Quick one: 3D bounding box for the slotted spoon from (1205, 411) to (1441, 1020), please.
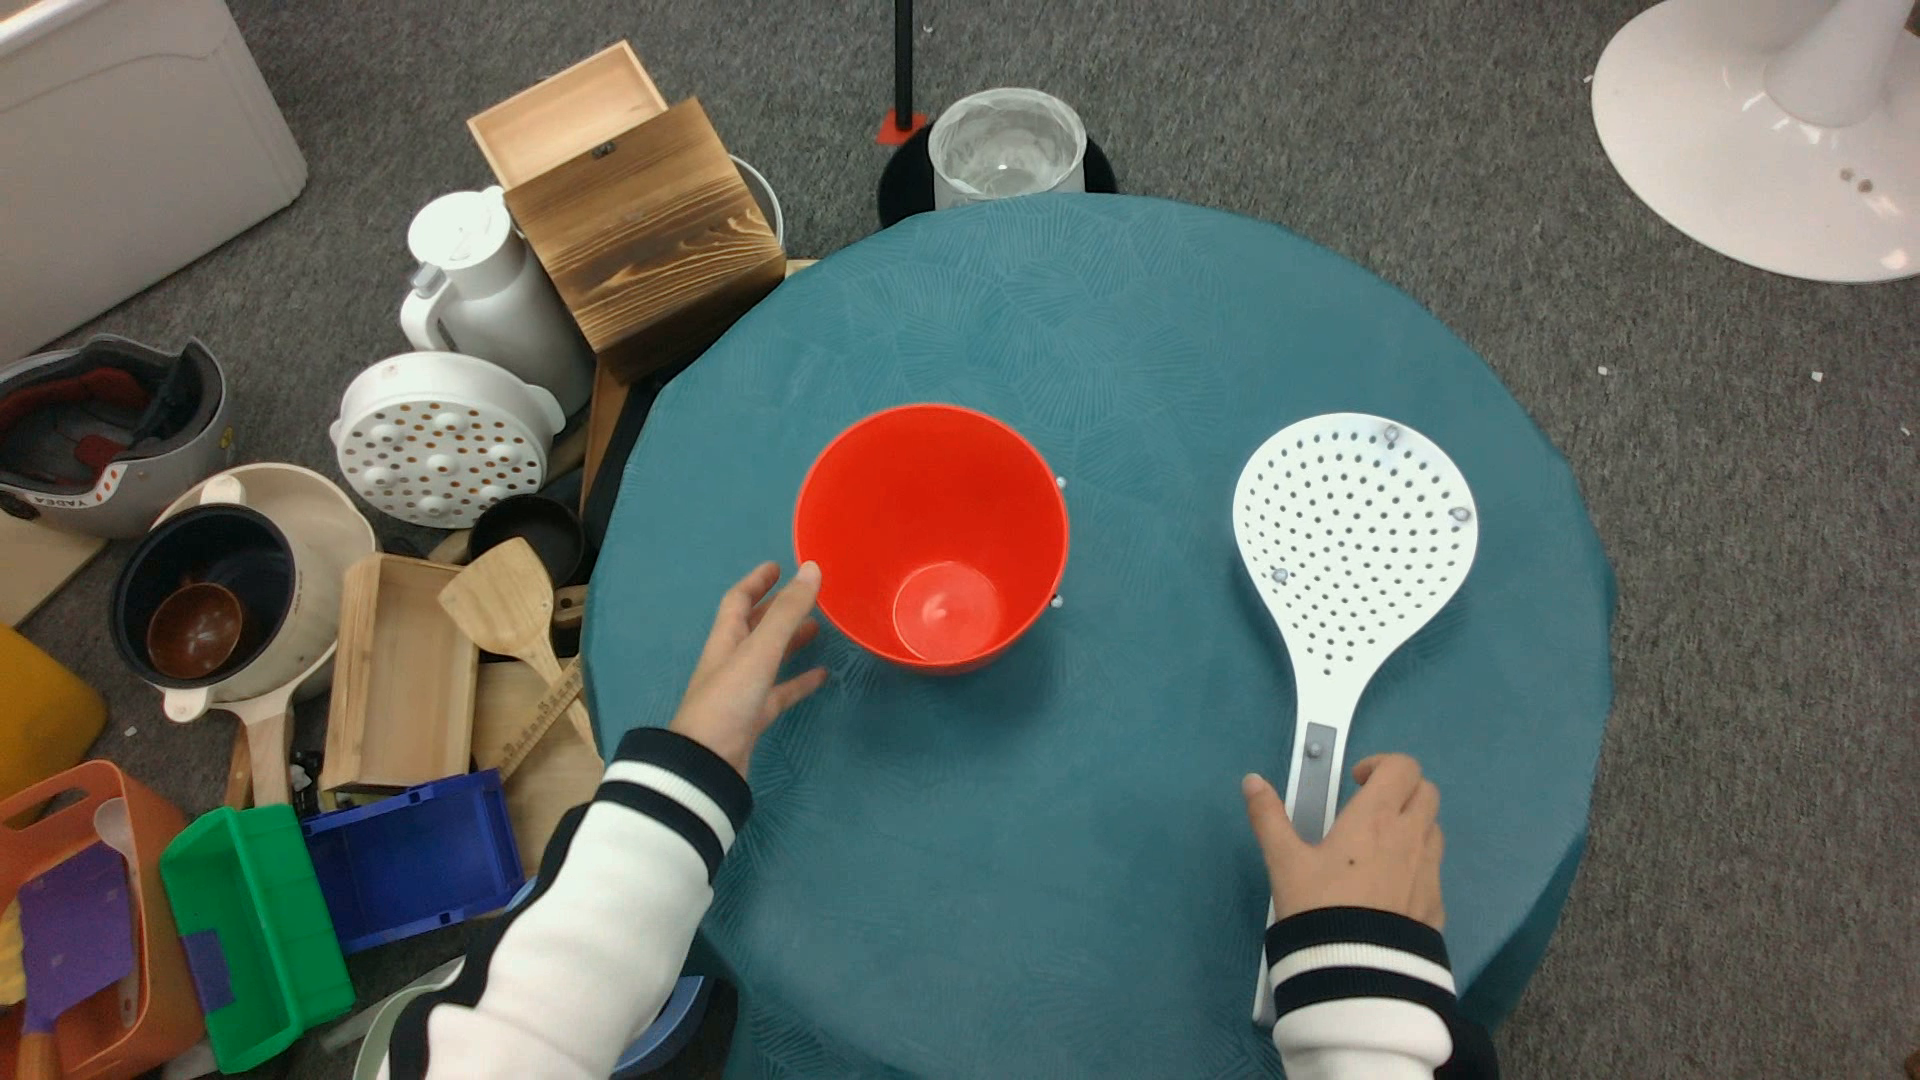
[{"bbox_3d":[0.184,0.085,0.763,0.136,0.045,0.351,12,63,8],"label":"slotted spoon"}]

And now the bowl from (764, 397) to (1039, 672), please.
[{"bbox_3d":[-0.031,0.009,0.772,0.148,0.104,0.148,1,62,-2],"label":"bowl"}]
